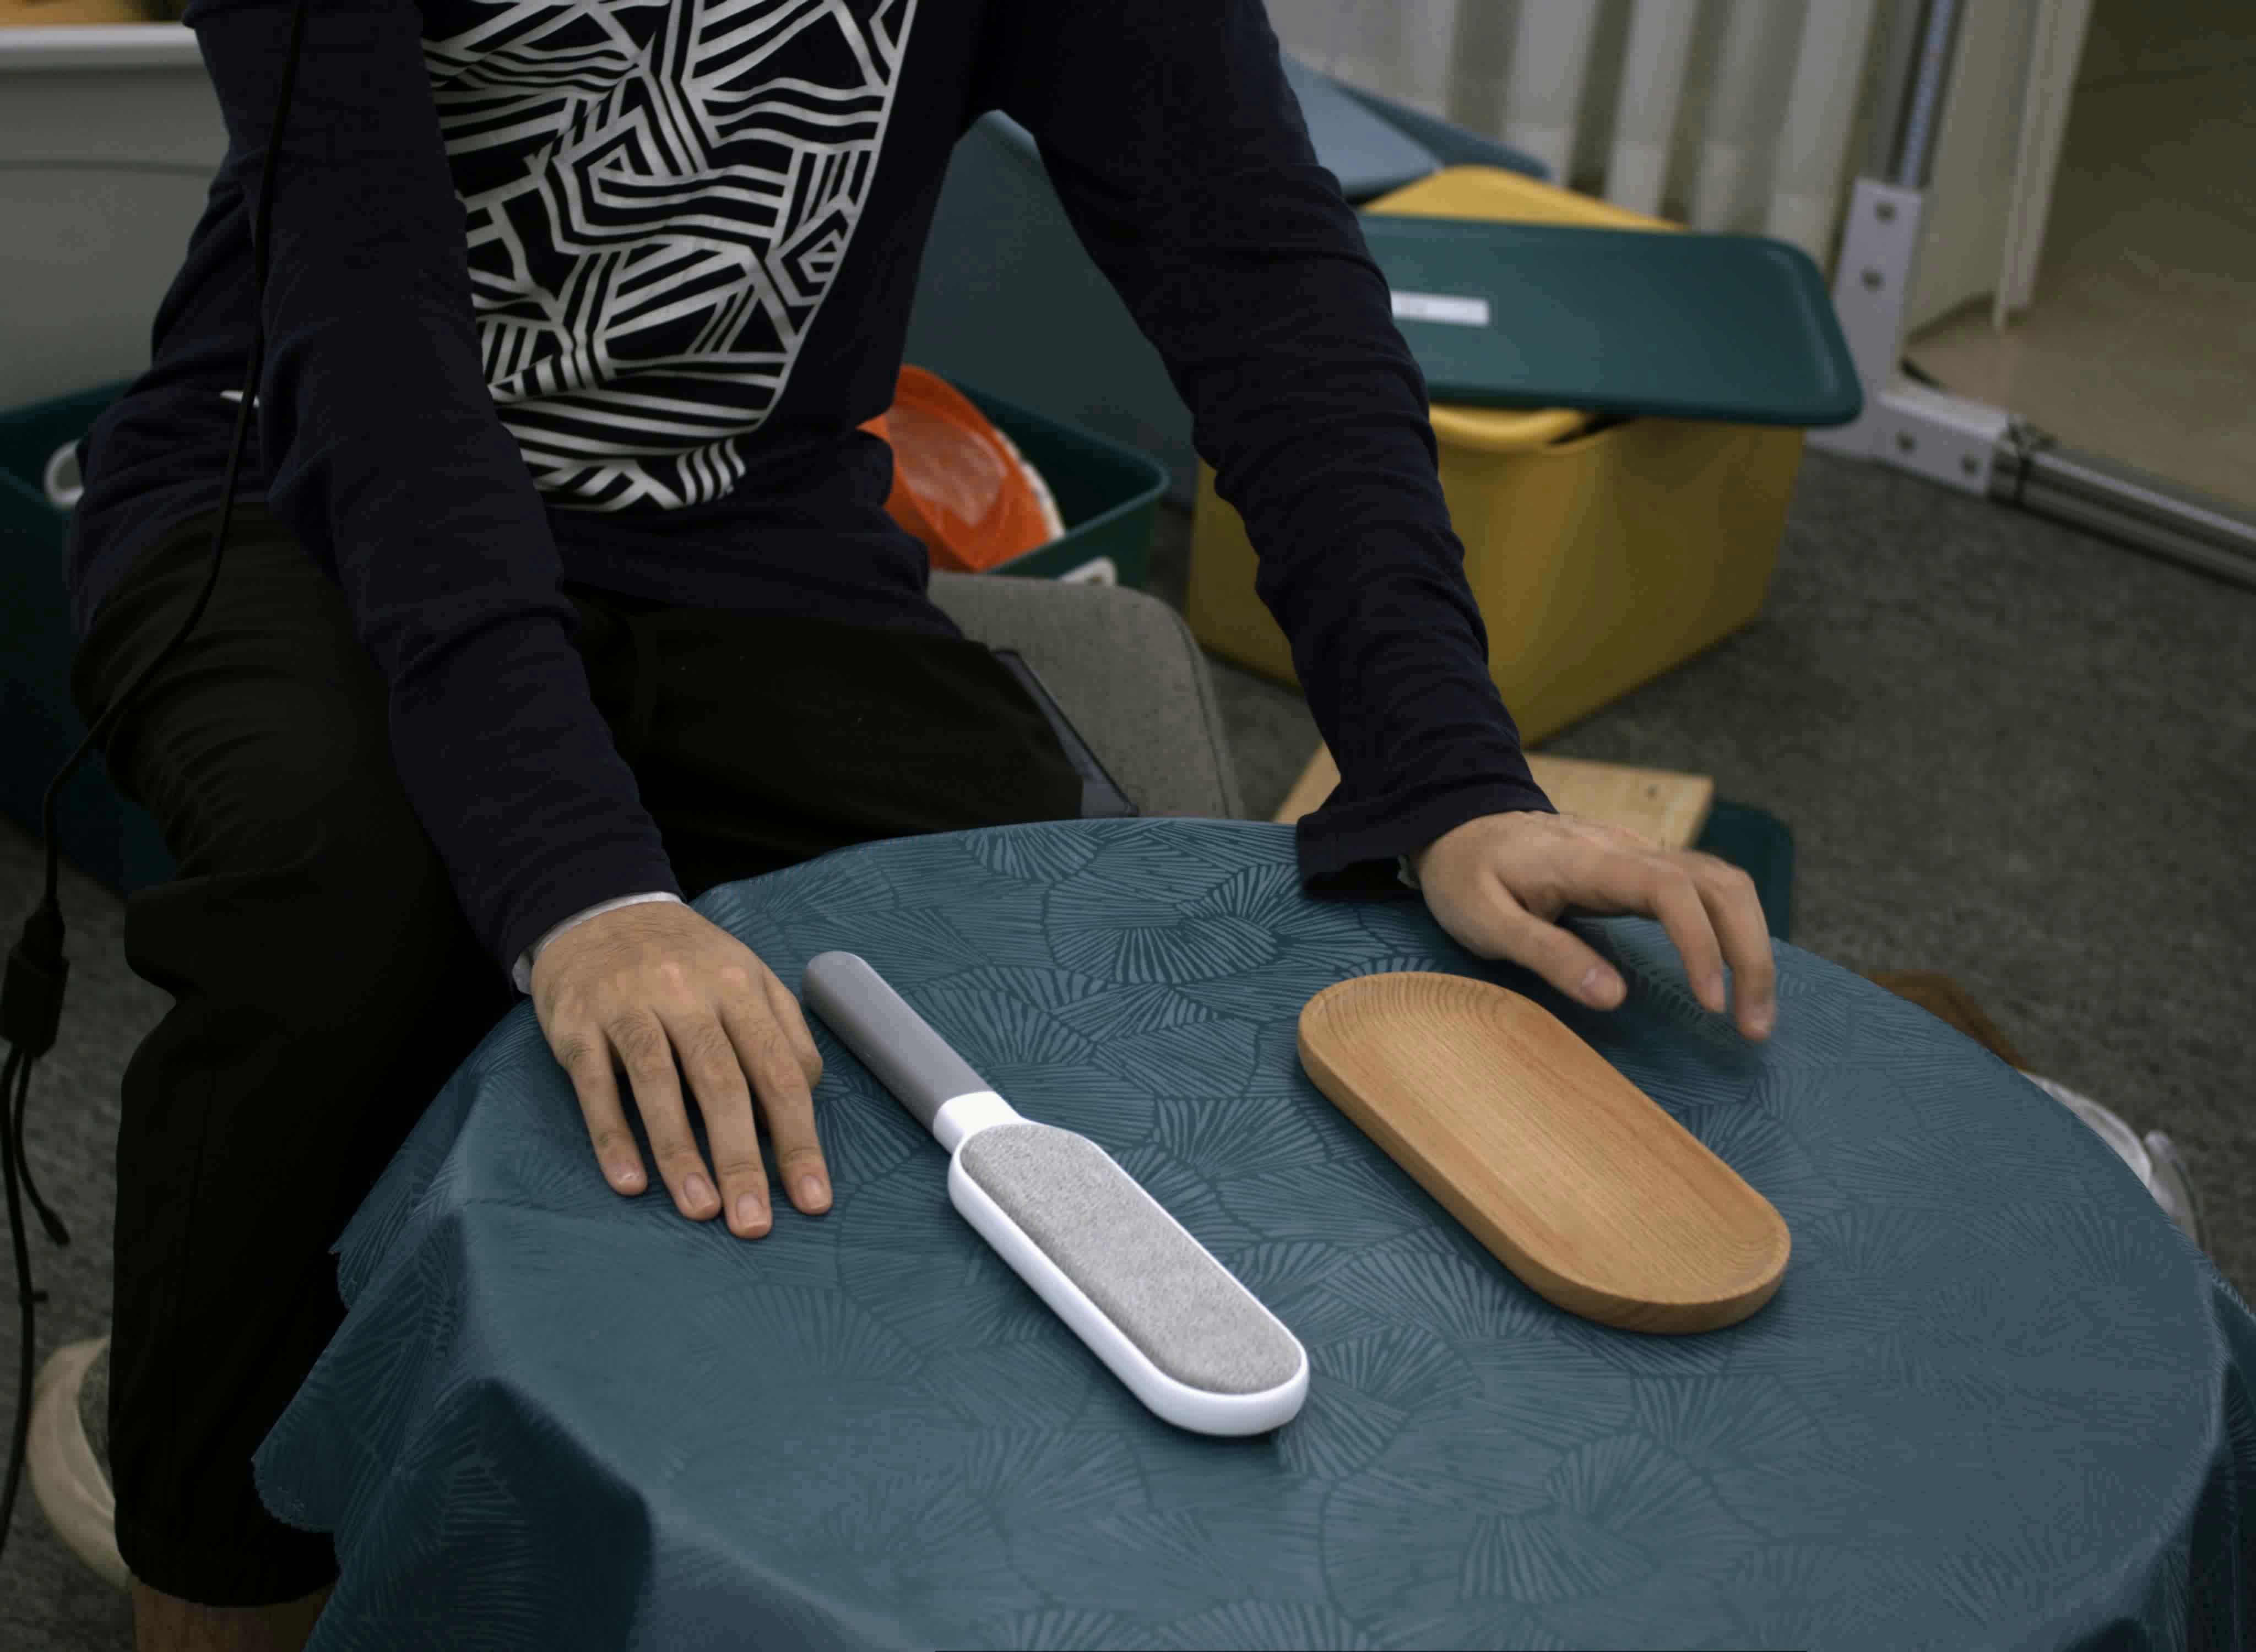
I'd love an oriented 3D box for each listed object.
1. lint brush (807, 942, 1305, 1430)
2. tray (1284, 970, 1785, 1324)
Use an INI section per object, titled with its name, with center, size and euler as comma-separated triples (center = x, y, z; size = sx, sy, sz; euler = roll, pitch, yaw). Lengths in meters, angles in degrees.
[lint brush]
center = -0.032, 0.115, 1.785
size = 0.060, 0.021, 0.312
euler = -14, 33, -25
[tray]
center = 0.138, 0.109, 1.848
size = 0.101, 0.020, 0.233
euler = -8, 28, -30
